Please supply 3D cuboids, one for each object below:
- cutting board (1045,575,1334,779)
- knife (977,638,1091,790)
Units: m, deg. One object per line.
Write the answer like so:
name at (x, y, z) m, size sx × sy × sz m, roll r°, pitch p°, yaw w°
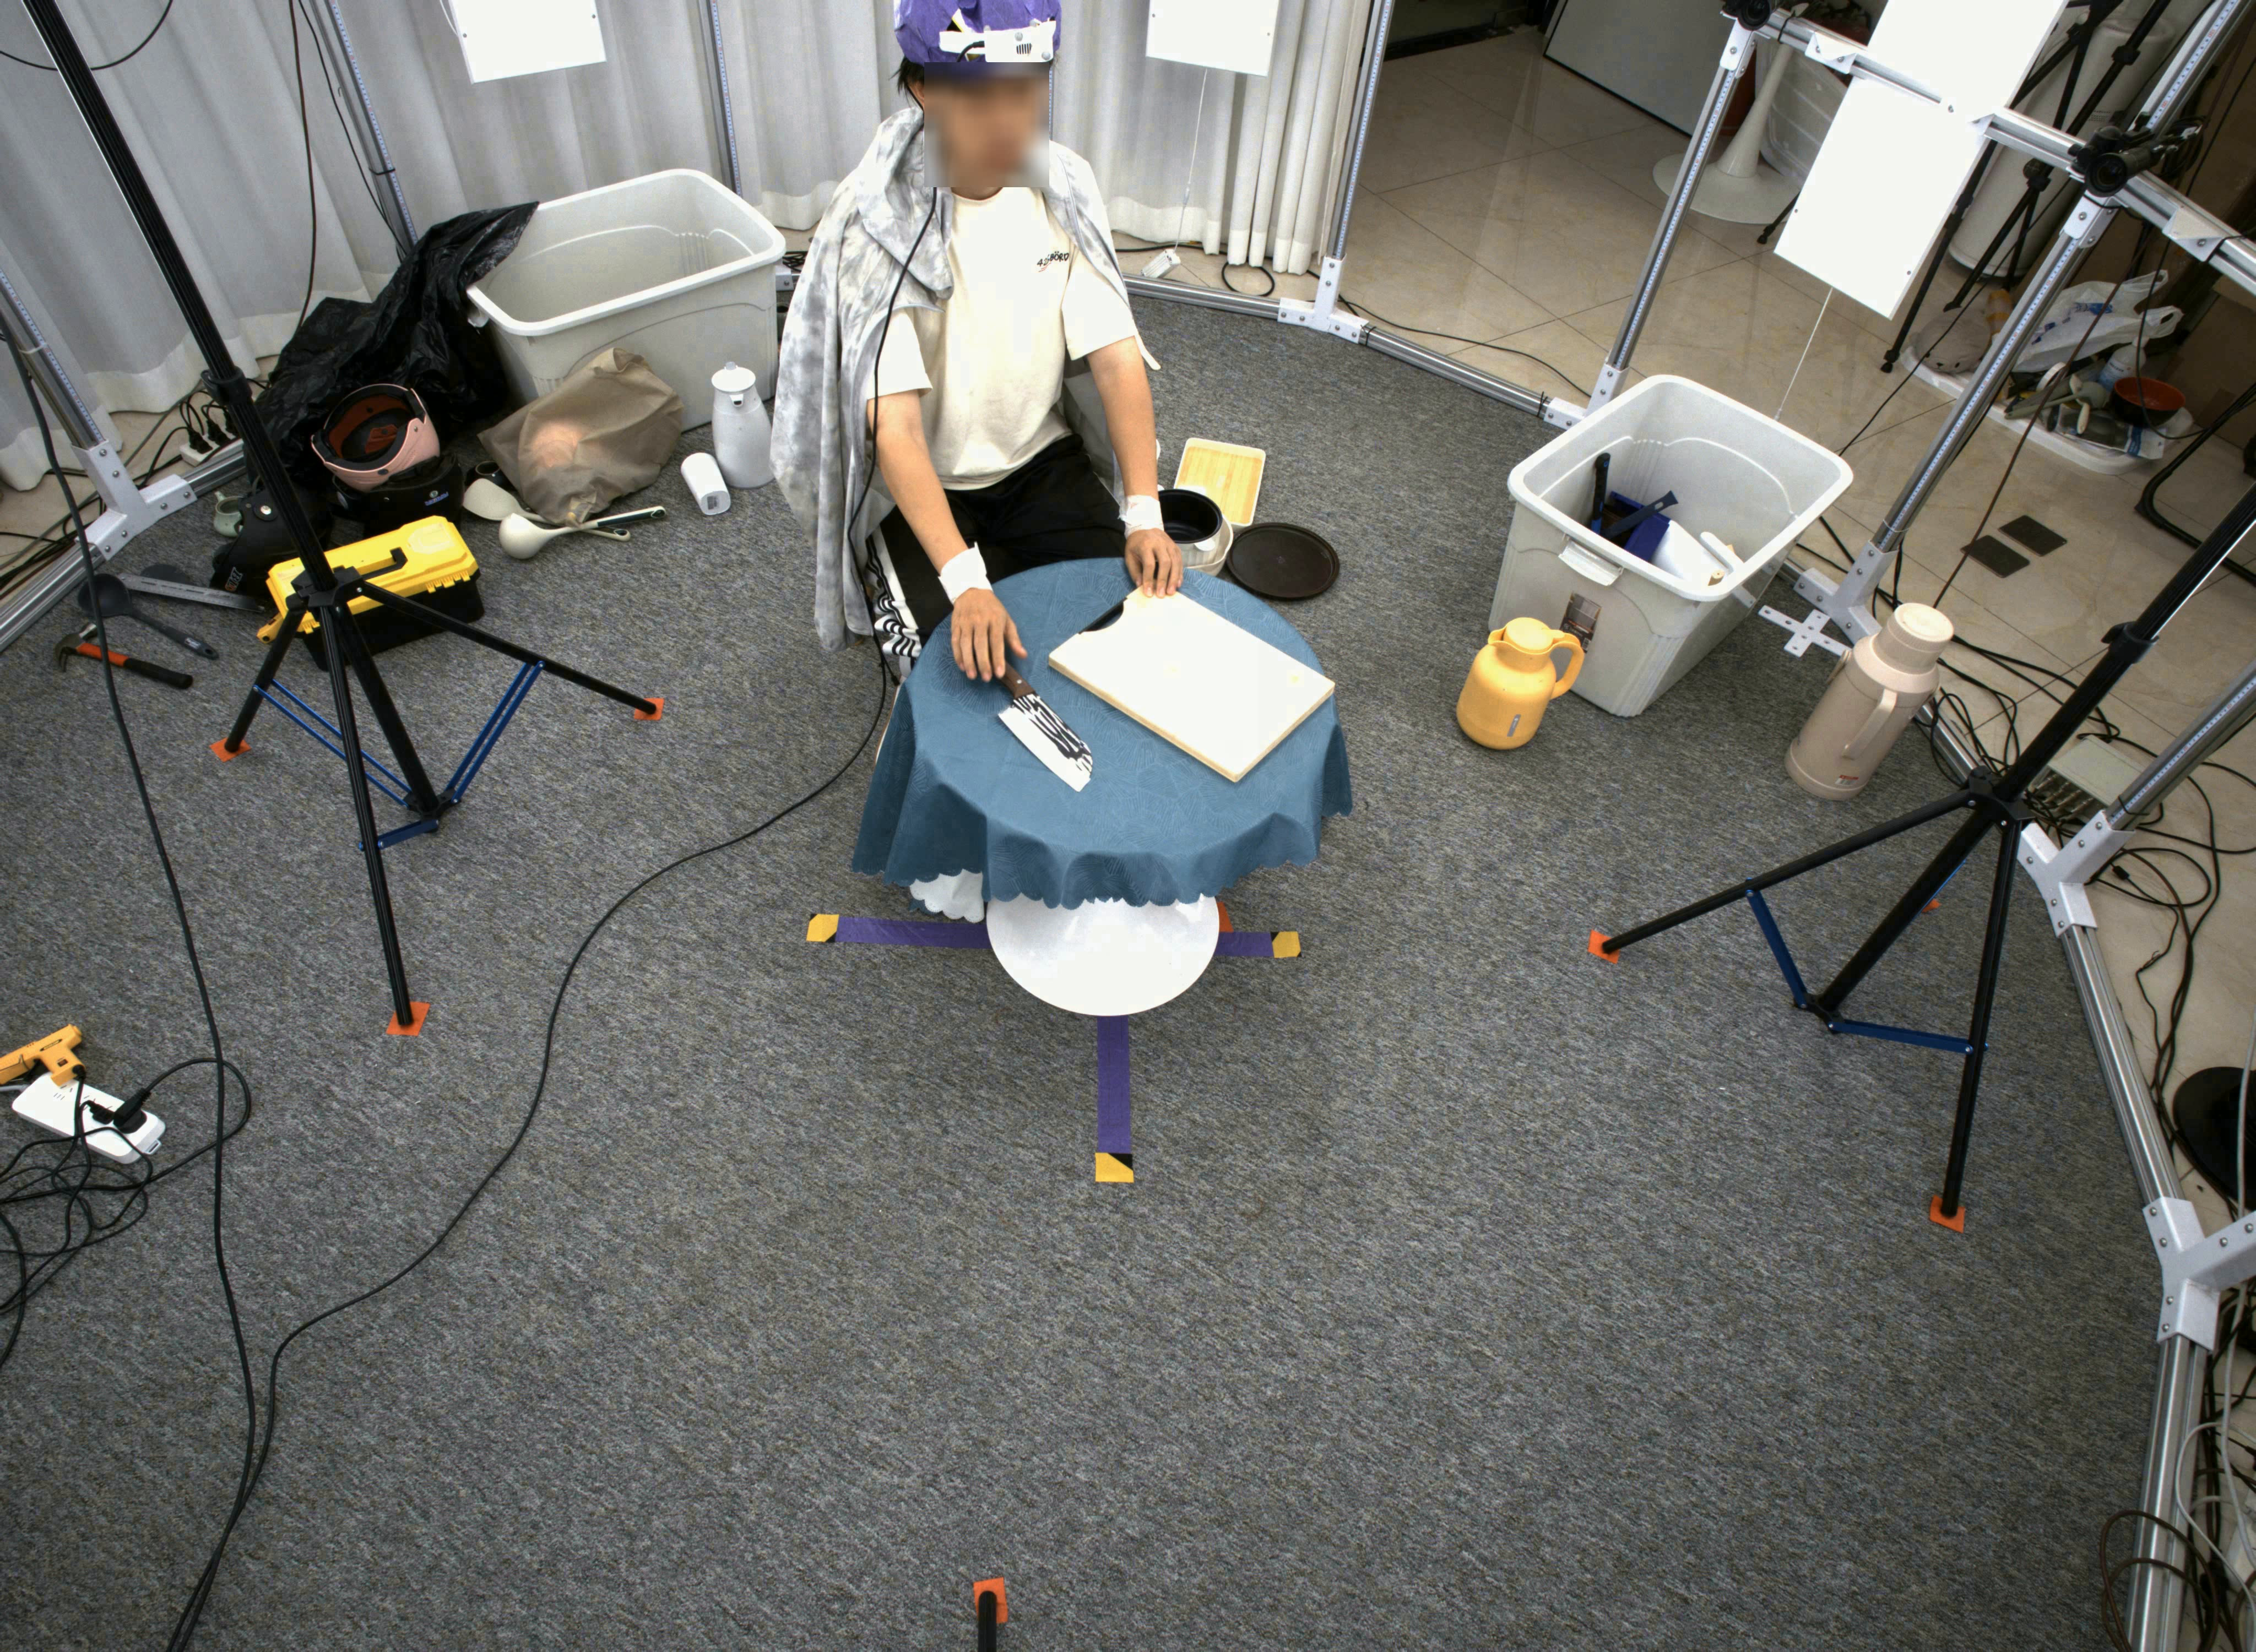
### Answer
cutting board at (0.087, -0.223, 1.850) m, size 0.353 × 0.023 × 0.253 m, roll 33°, pitch 54°, yaw 23°
knife at (-0.139, -0.158, 1.775) m, size 0.068 × 0.023 × 0.305 m, roll -29°, pitch 59°, yaw -22°
